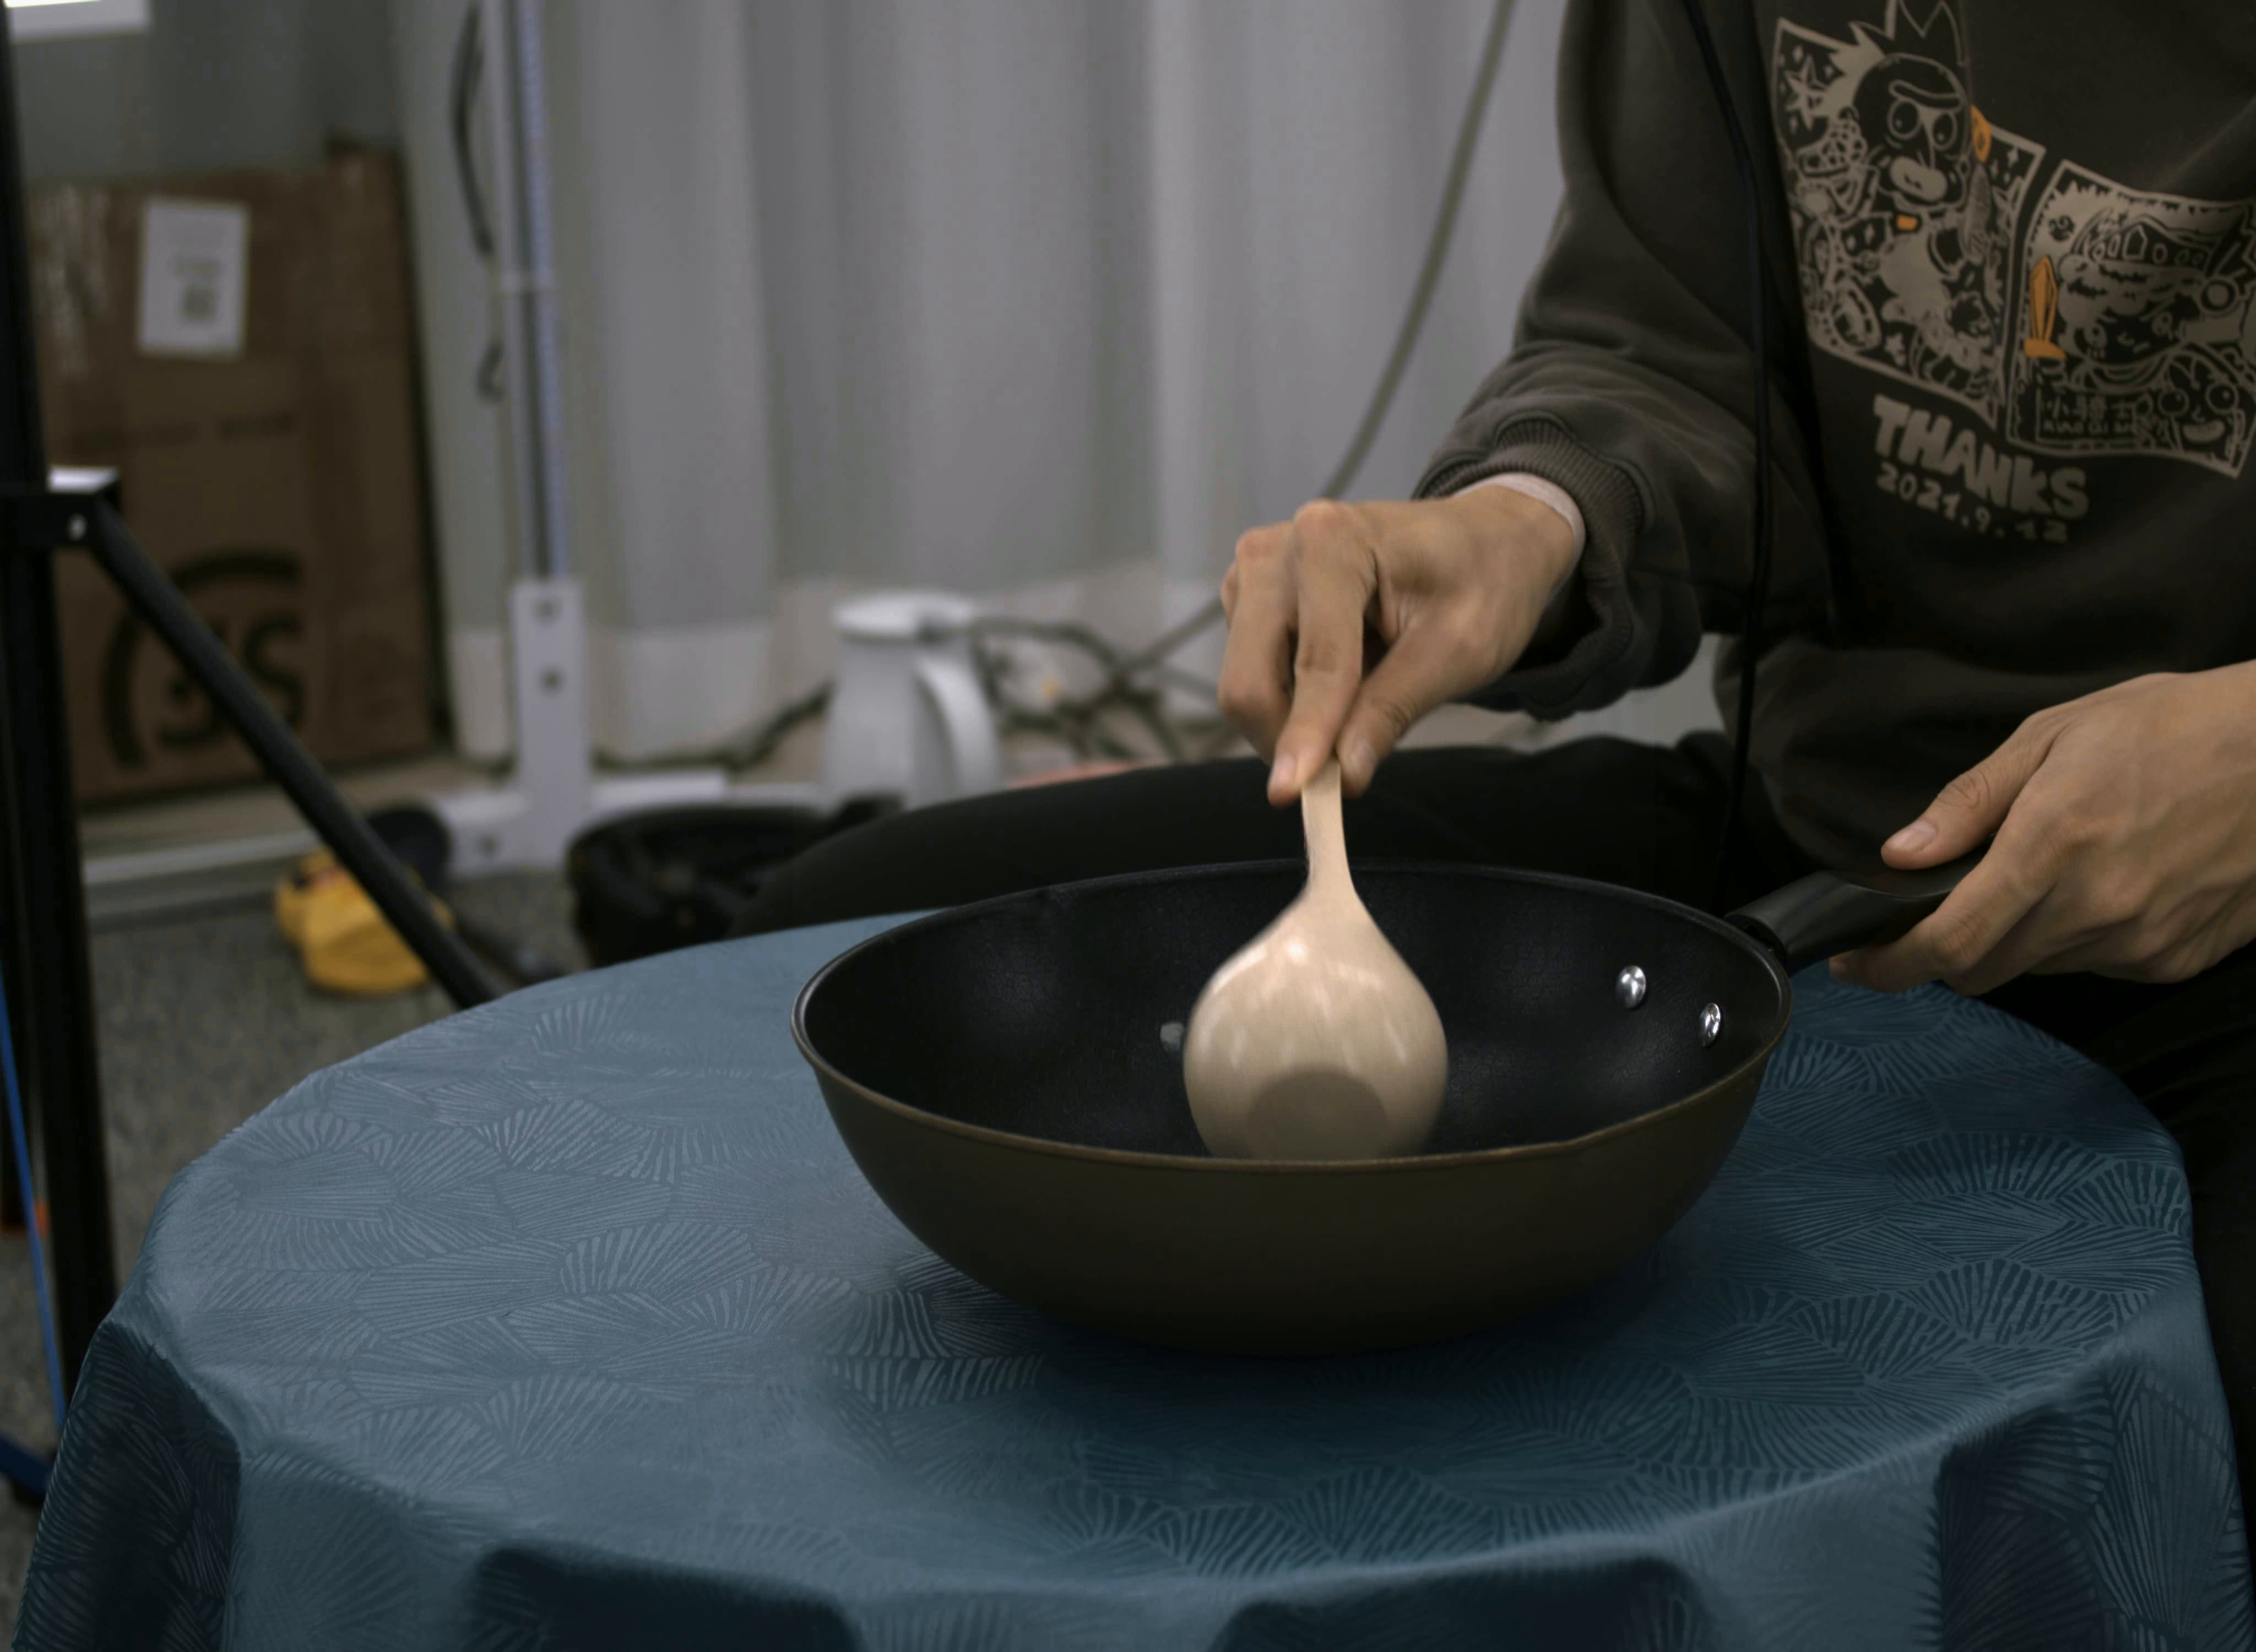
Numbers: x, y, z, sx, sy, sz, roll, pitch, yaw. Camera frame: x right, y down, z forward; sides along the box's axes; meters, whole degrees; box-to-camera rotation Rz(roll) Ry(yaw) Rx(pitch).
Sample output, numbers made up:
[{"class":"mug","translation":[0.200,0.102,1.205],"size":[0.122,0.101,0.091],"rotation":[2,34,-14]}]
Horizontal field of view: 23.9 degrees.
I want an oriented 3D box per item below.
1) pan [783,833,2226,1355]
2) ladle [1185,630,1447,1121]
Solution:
[{"class":"pan","translation":[0.124,0.070,1.524],"size":[0.453,0.087,0.294],"rotation":[-9,17,-25]},{"class":"ladle","translation":[0.056,0.027,1.542],"size":[0.072,0.073,0.255],"rotation":[5,26,1]}]
